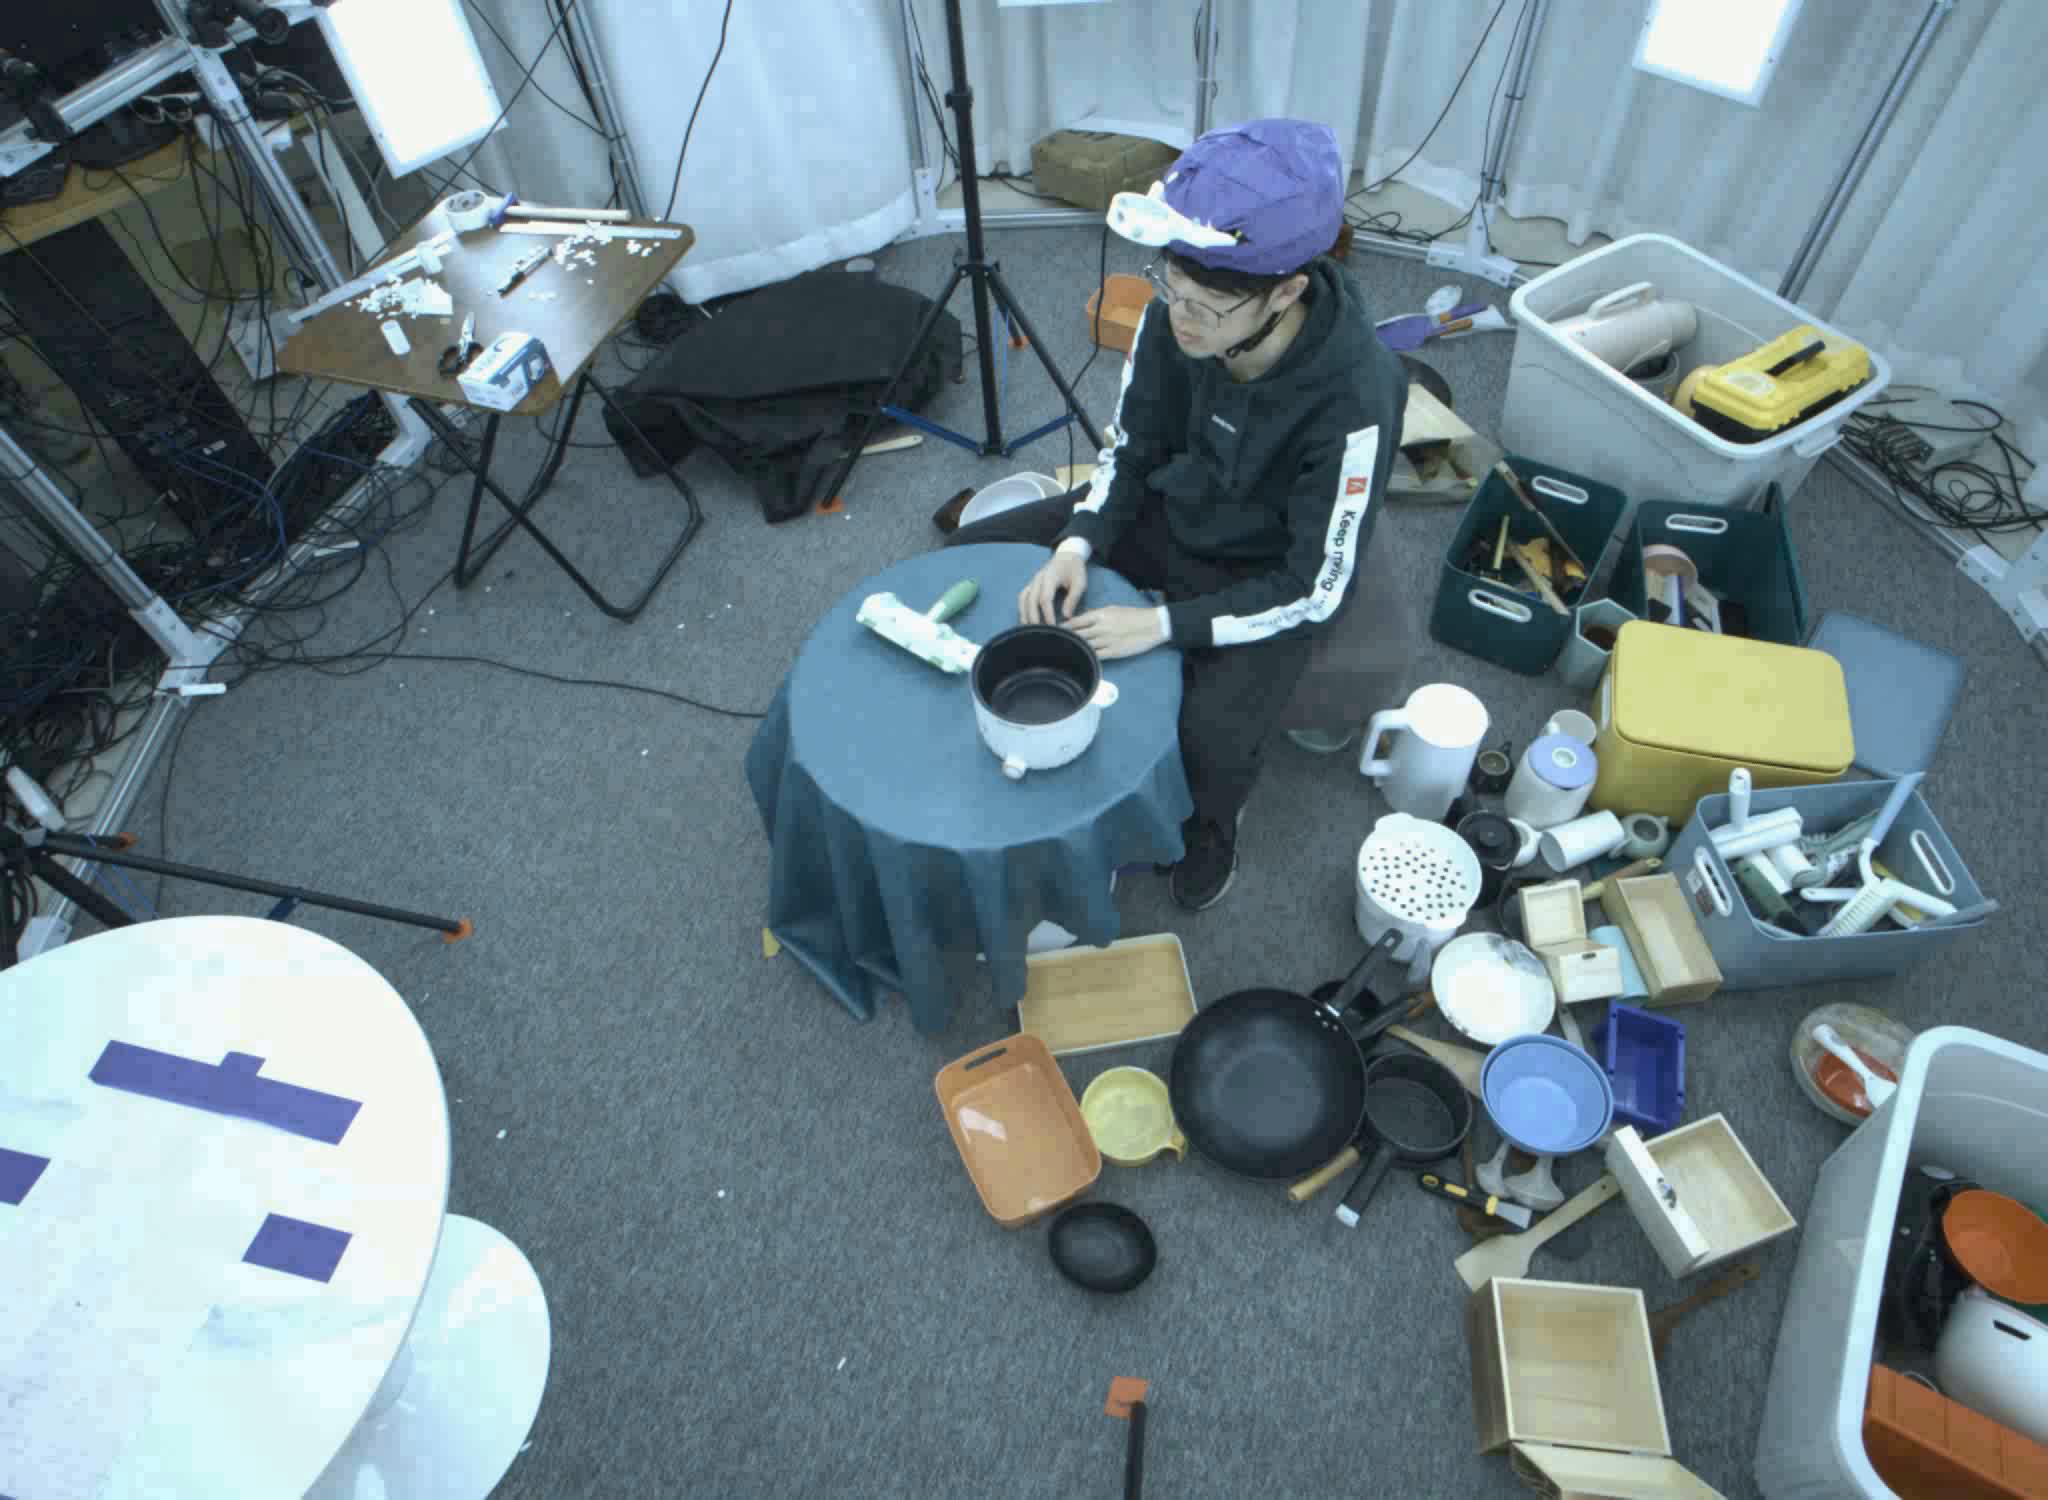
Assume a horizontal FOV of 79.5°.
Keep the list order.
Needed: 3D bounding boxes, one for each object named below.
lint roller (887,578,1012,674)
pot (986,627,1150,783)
[{"bbox_3d":[-0.085,-0.222,1.897,0.195,0.083,0.184,32,67,23],"label":"lint roller"},{"bbox_3d":[0.061,-0.058,1.737,0.237,0.144,0.190,17,54,16],"label":"pot"}]
